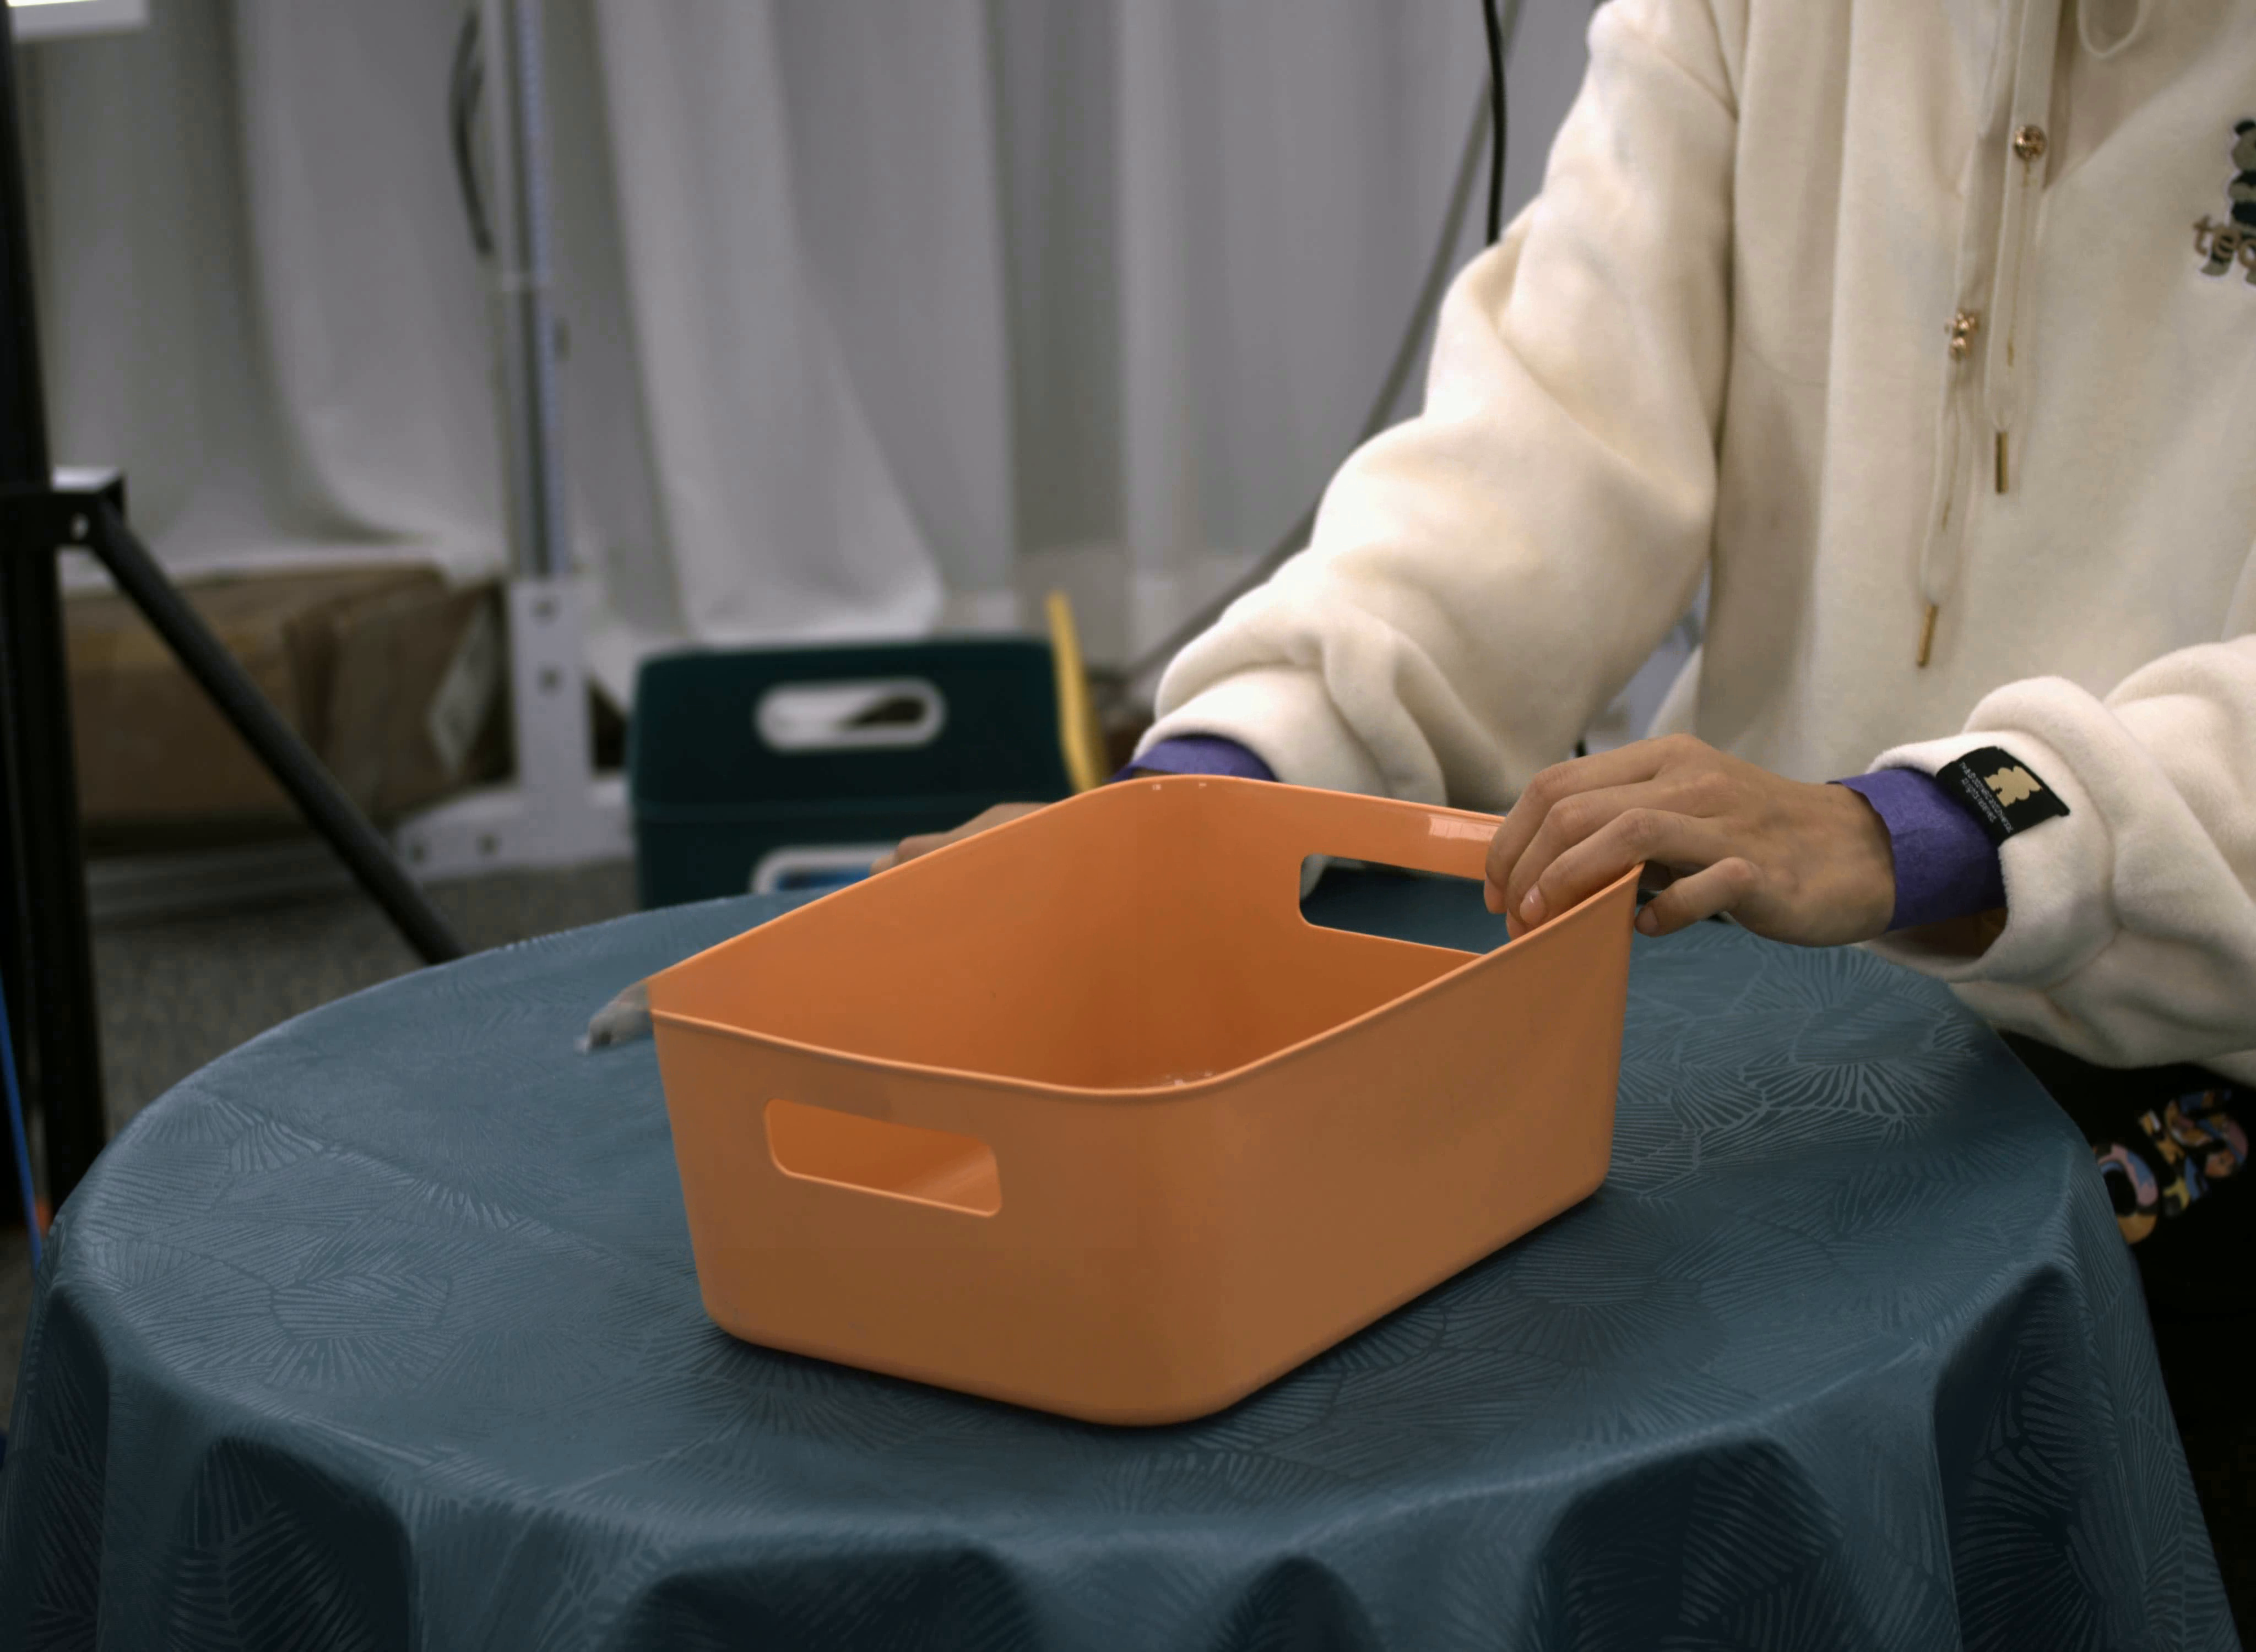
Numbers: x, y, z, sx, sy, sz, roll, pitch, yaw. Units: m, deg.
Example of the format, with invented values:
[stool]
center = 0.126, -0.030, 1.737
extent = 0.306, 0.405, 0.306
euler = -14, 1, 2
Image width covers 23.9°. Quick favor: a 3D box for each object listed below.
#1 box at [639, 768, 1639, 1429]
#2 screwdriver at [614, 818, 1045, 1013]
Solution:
[box]
center = 0.011, 0.072, 1.487
extent = 0.203, 0.102, 0.268
euler = 8, 19, 35
[screwdriver]
center = -0.085, 0.032, 1.683
extent = 0.032, 0.031, 0.193
euler = 12, 23, 40
